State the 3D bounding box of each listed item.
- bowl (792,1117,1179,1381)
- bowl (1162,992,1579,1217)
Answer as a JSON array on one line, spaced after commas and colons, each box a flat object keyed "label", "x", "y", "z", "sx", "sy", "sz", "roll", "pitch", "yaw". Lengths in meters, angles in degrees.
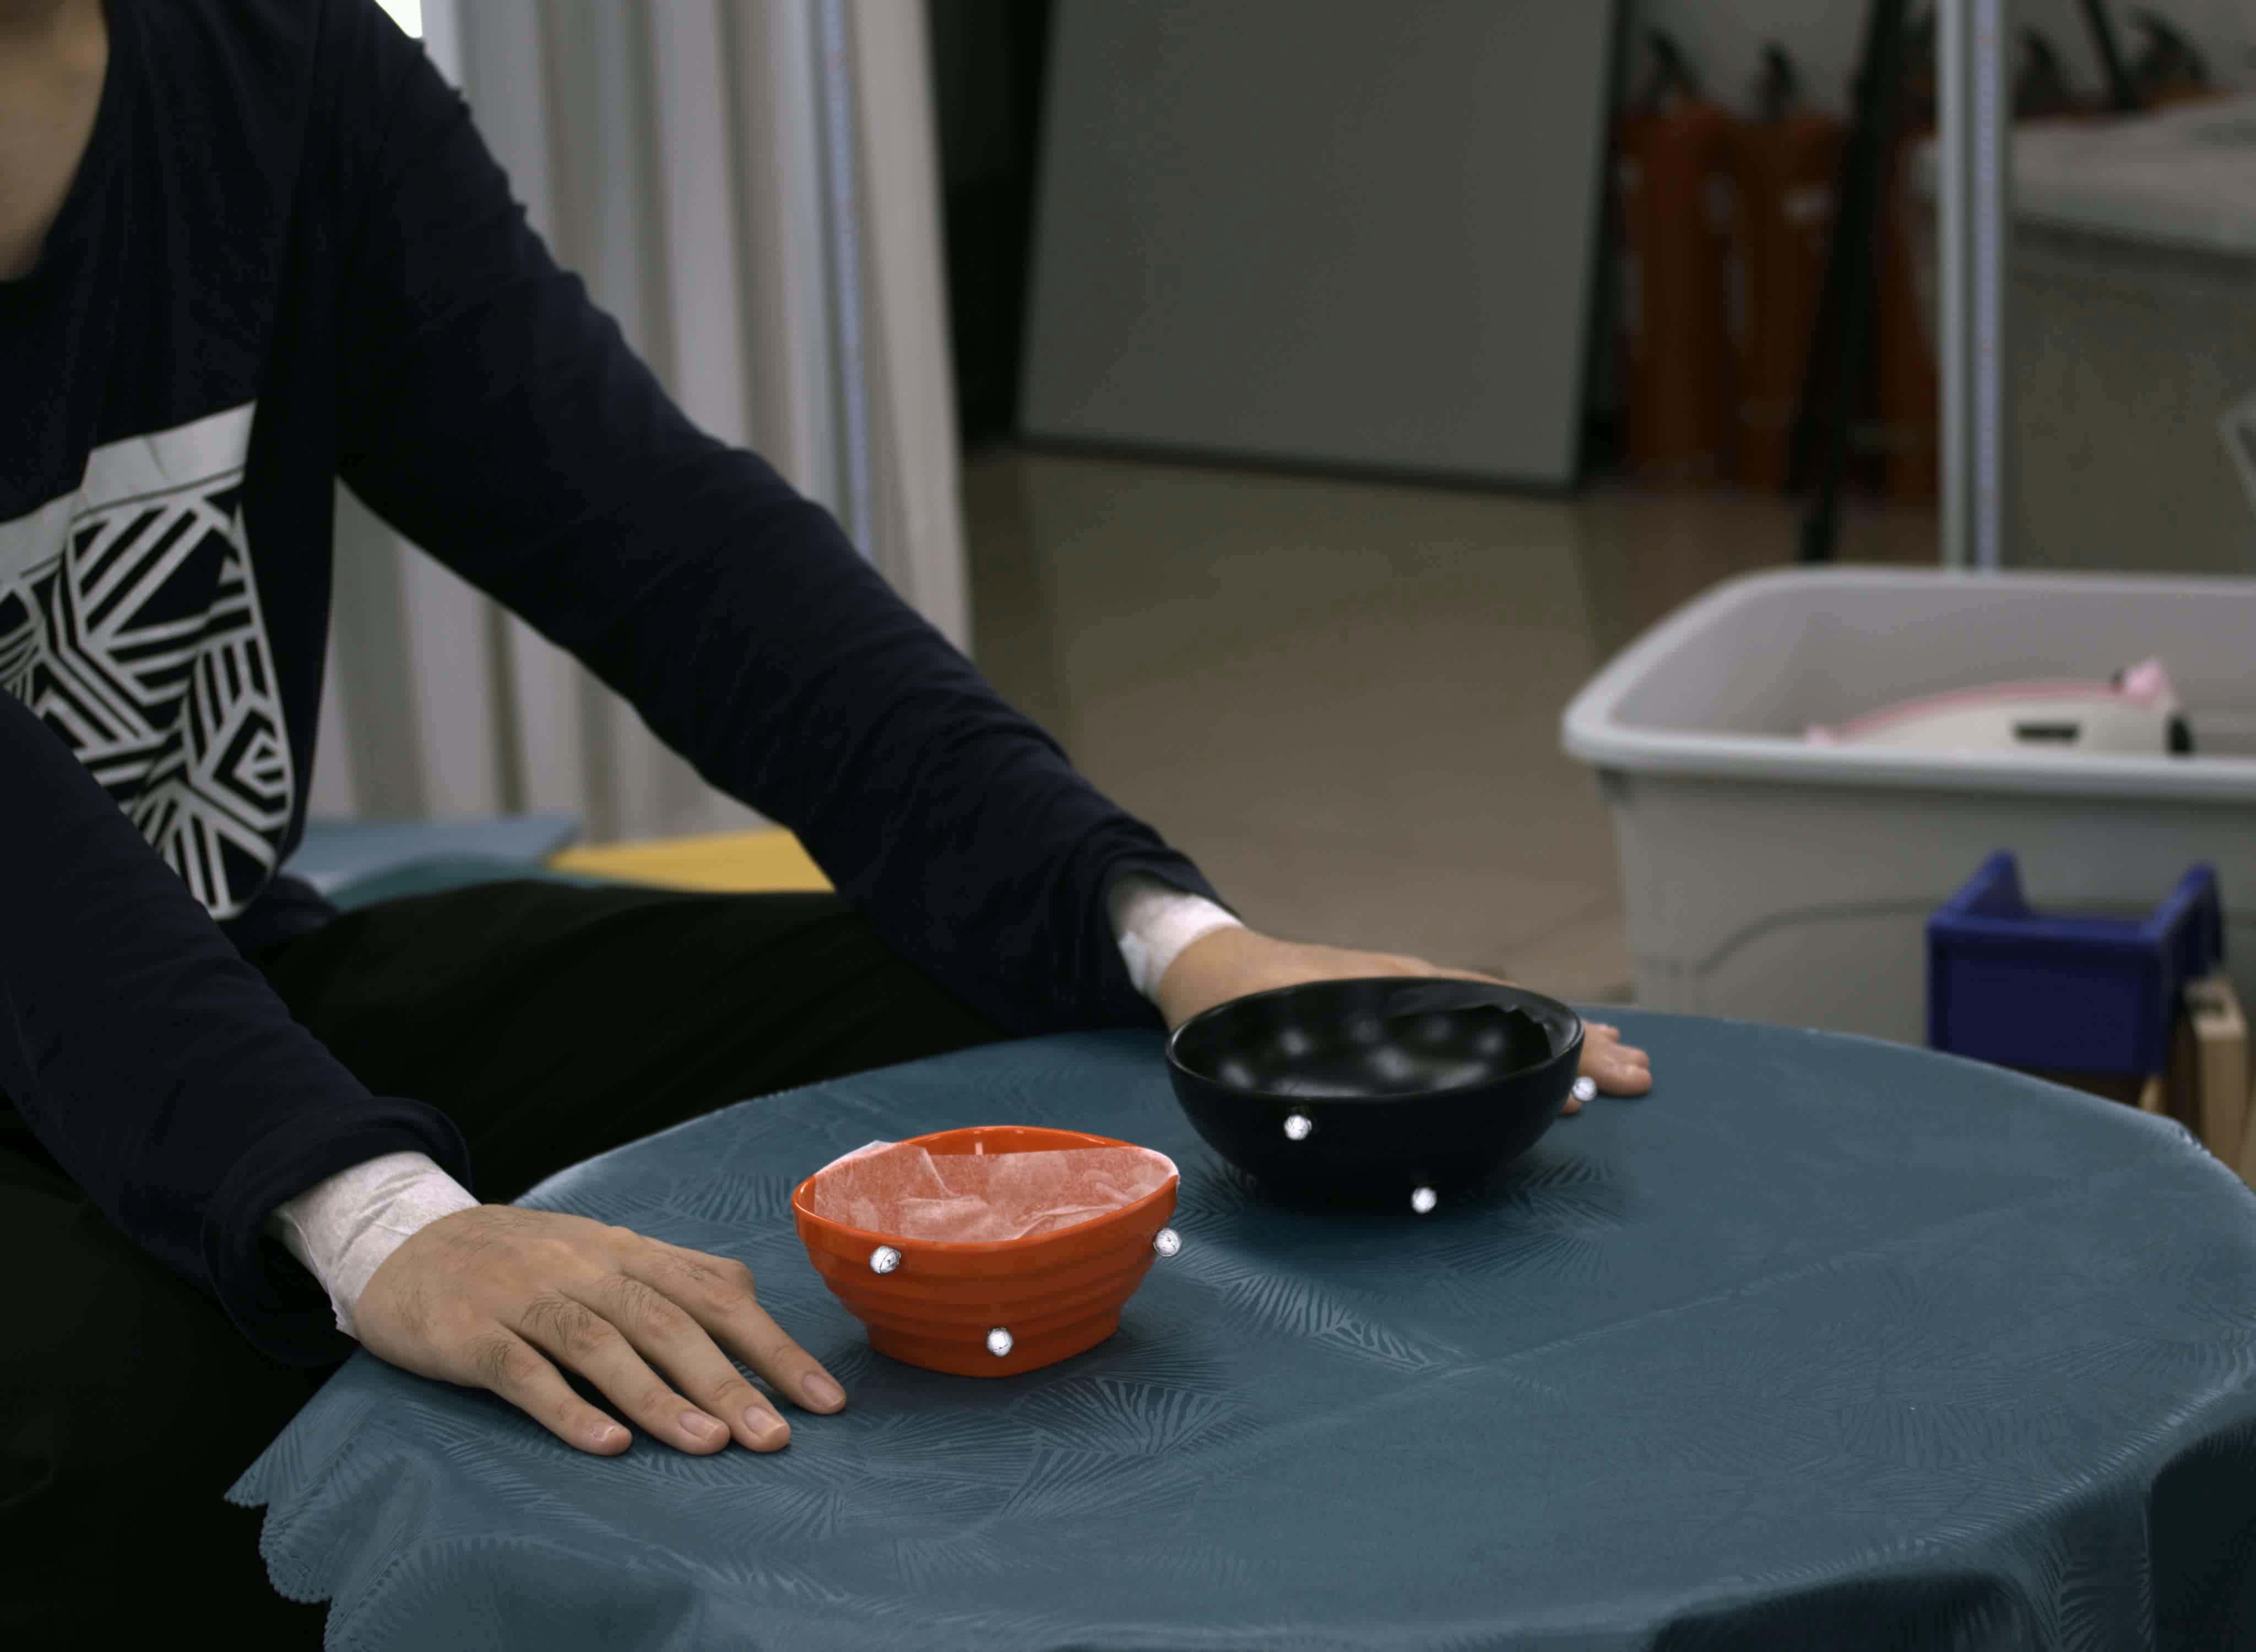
[{"label": "bowl", "x": -0.042, "y": 0.130, "z": 1.637, "sx": 0.117, "sy": 0.052, "sz": 0.119, "roll": -3, "pitch": 16, "yaw": 0}, {"label": "bowl", "x": 0.082, "y": 0.095, "z": 1.767, "sx": 0.138, "sy": 0.050, "sz": 0.140, "roll": -7, "pitch": 10, "yaw": 0}]
